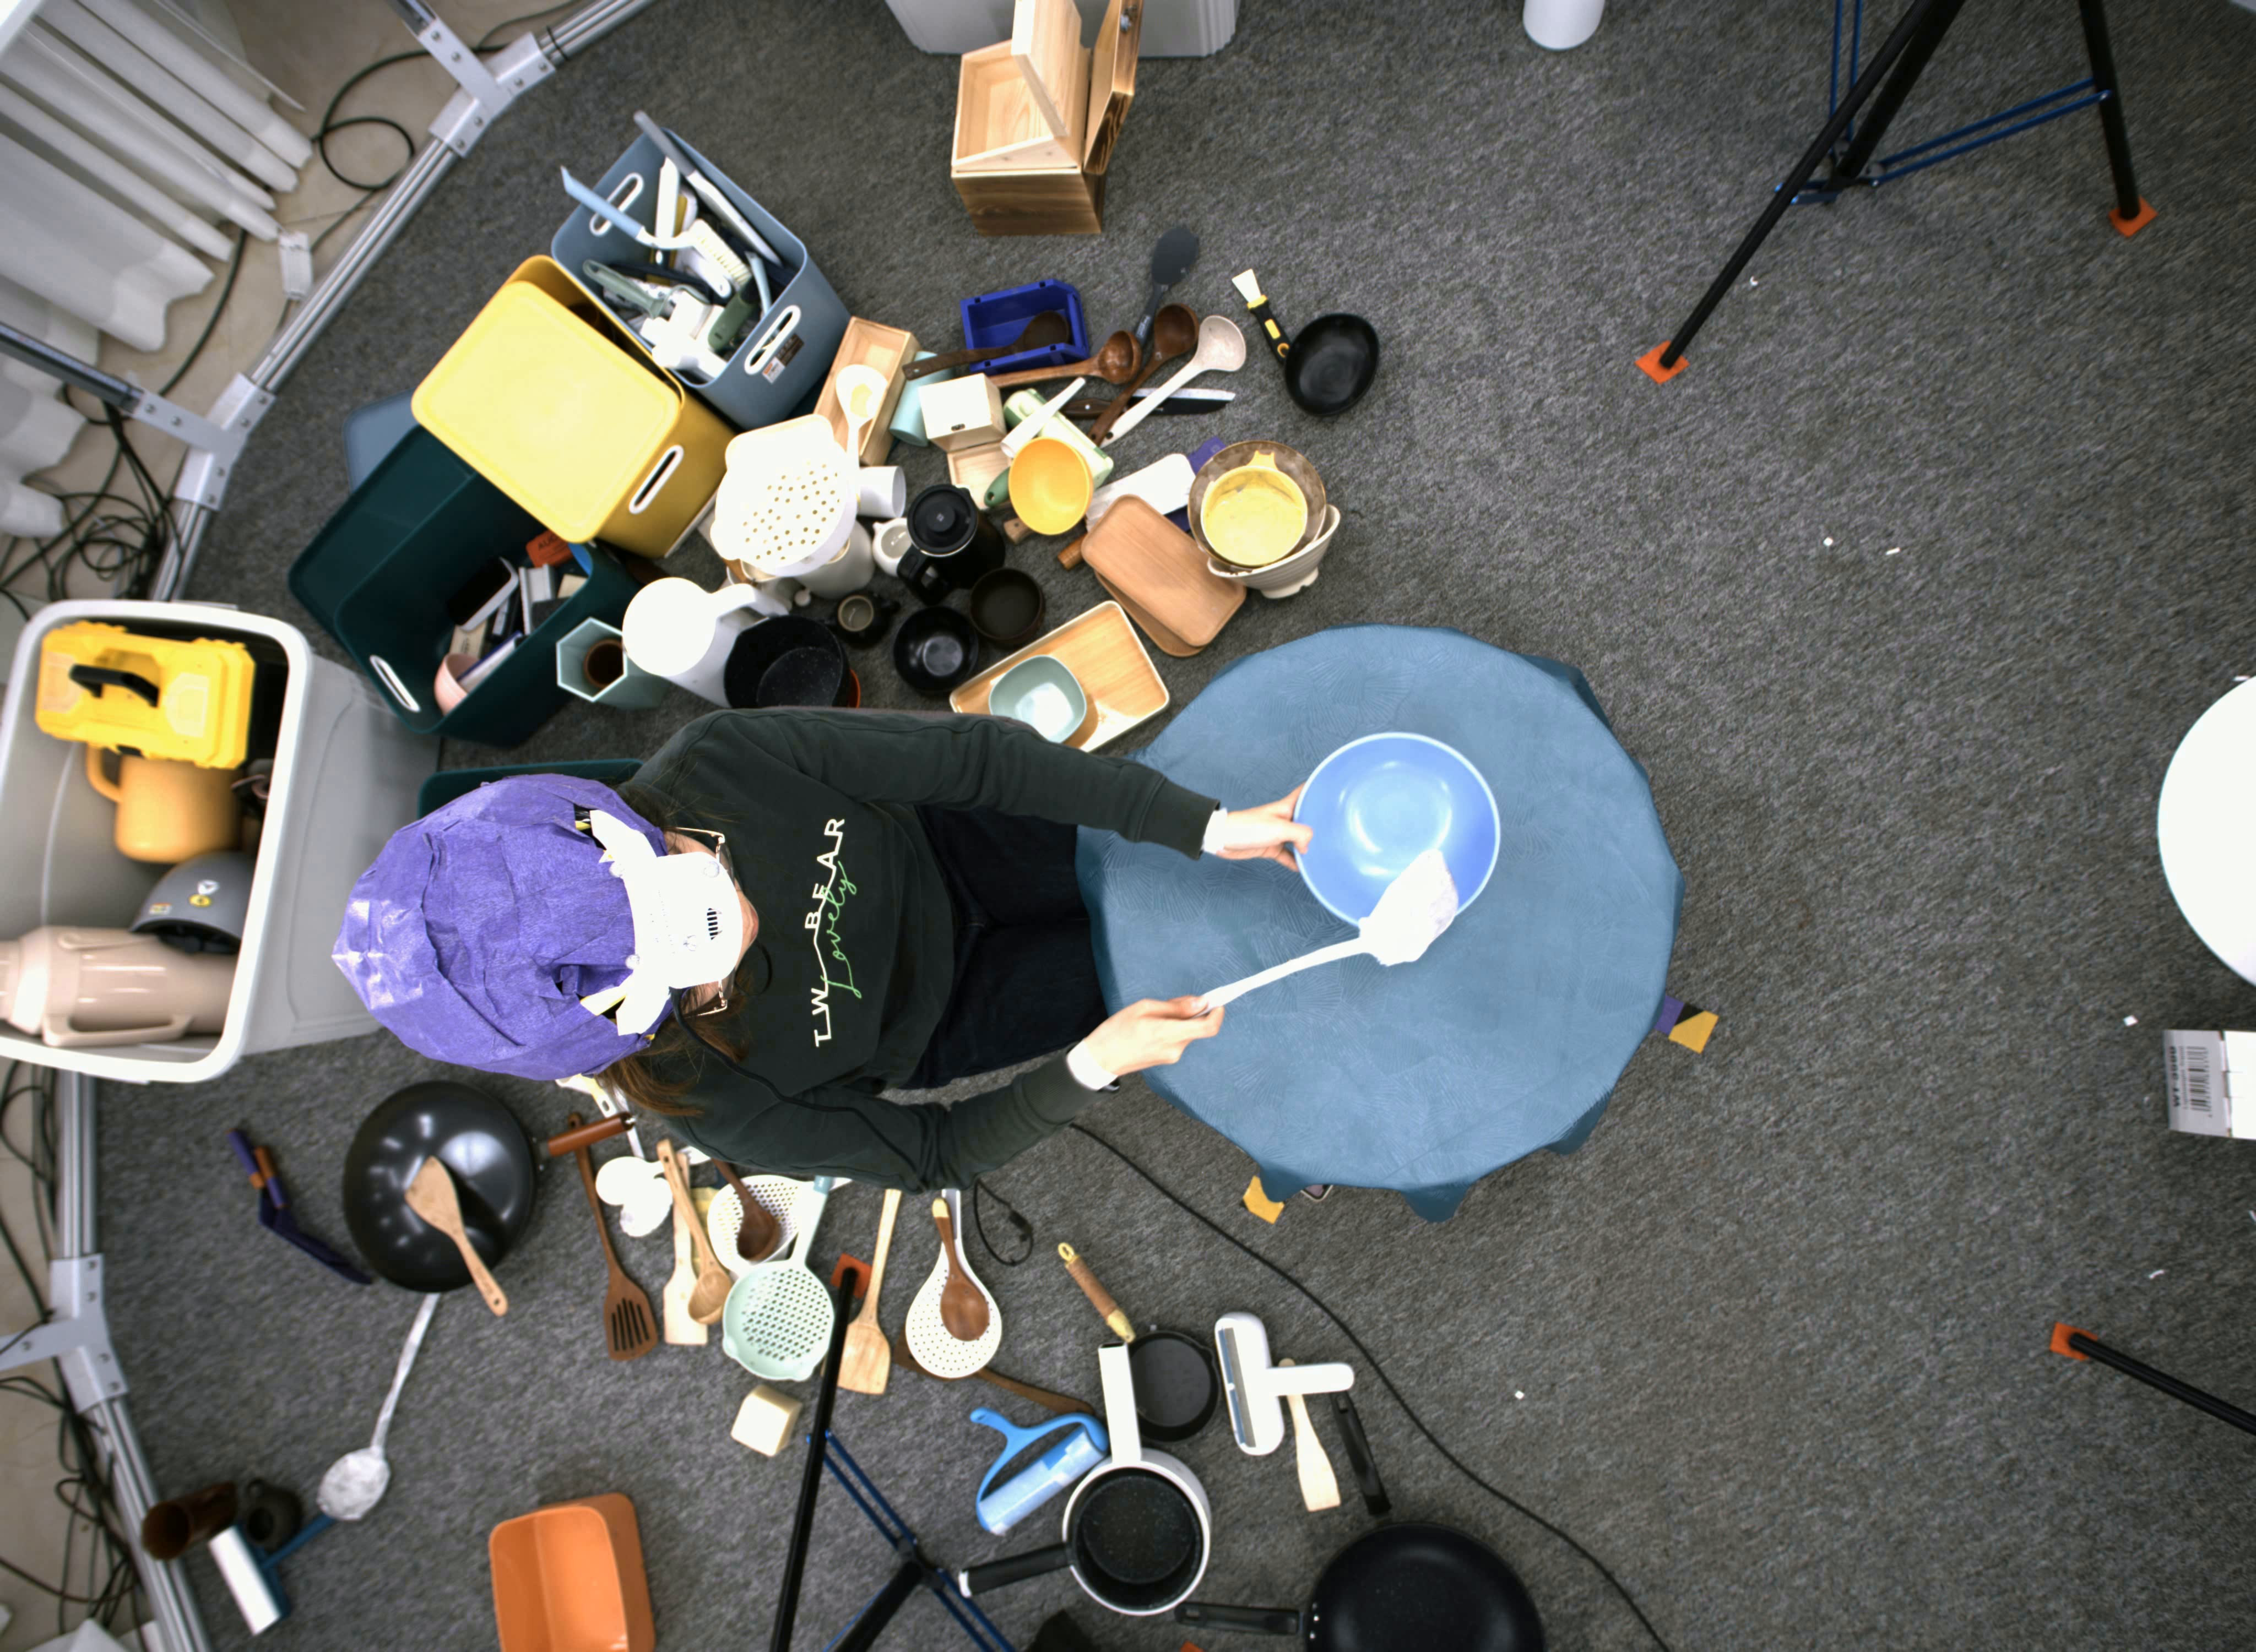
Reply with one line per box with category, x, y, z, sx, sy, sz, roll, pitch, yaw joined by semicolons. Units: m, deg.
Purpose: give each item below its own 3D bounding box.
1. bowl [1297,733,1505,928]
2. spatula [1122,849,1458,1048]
bowl;0.269;-0.003;1.363;0.197;0.094;0.199;3;104;11
spatula;0.140;0.131;1.287;0.369;0.045;0.096;-25;42;19
